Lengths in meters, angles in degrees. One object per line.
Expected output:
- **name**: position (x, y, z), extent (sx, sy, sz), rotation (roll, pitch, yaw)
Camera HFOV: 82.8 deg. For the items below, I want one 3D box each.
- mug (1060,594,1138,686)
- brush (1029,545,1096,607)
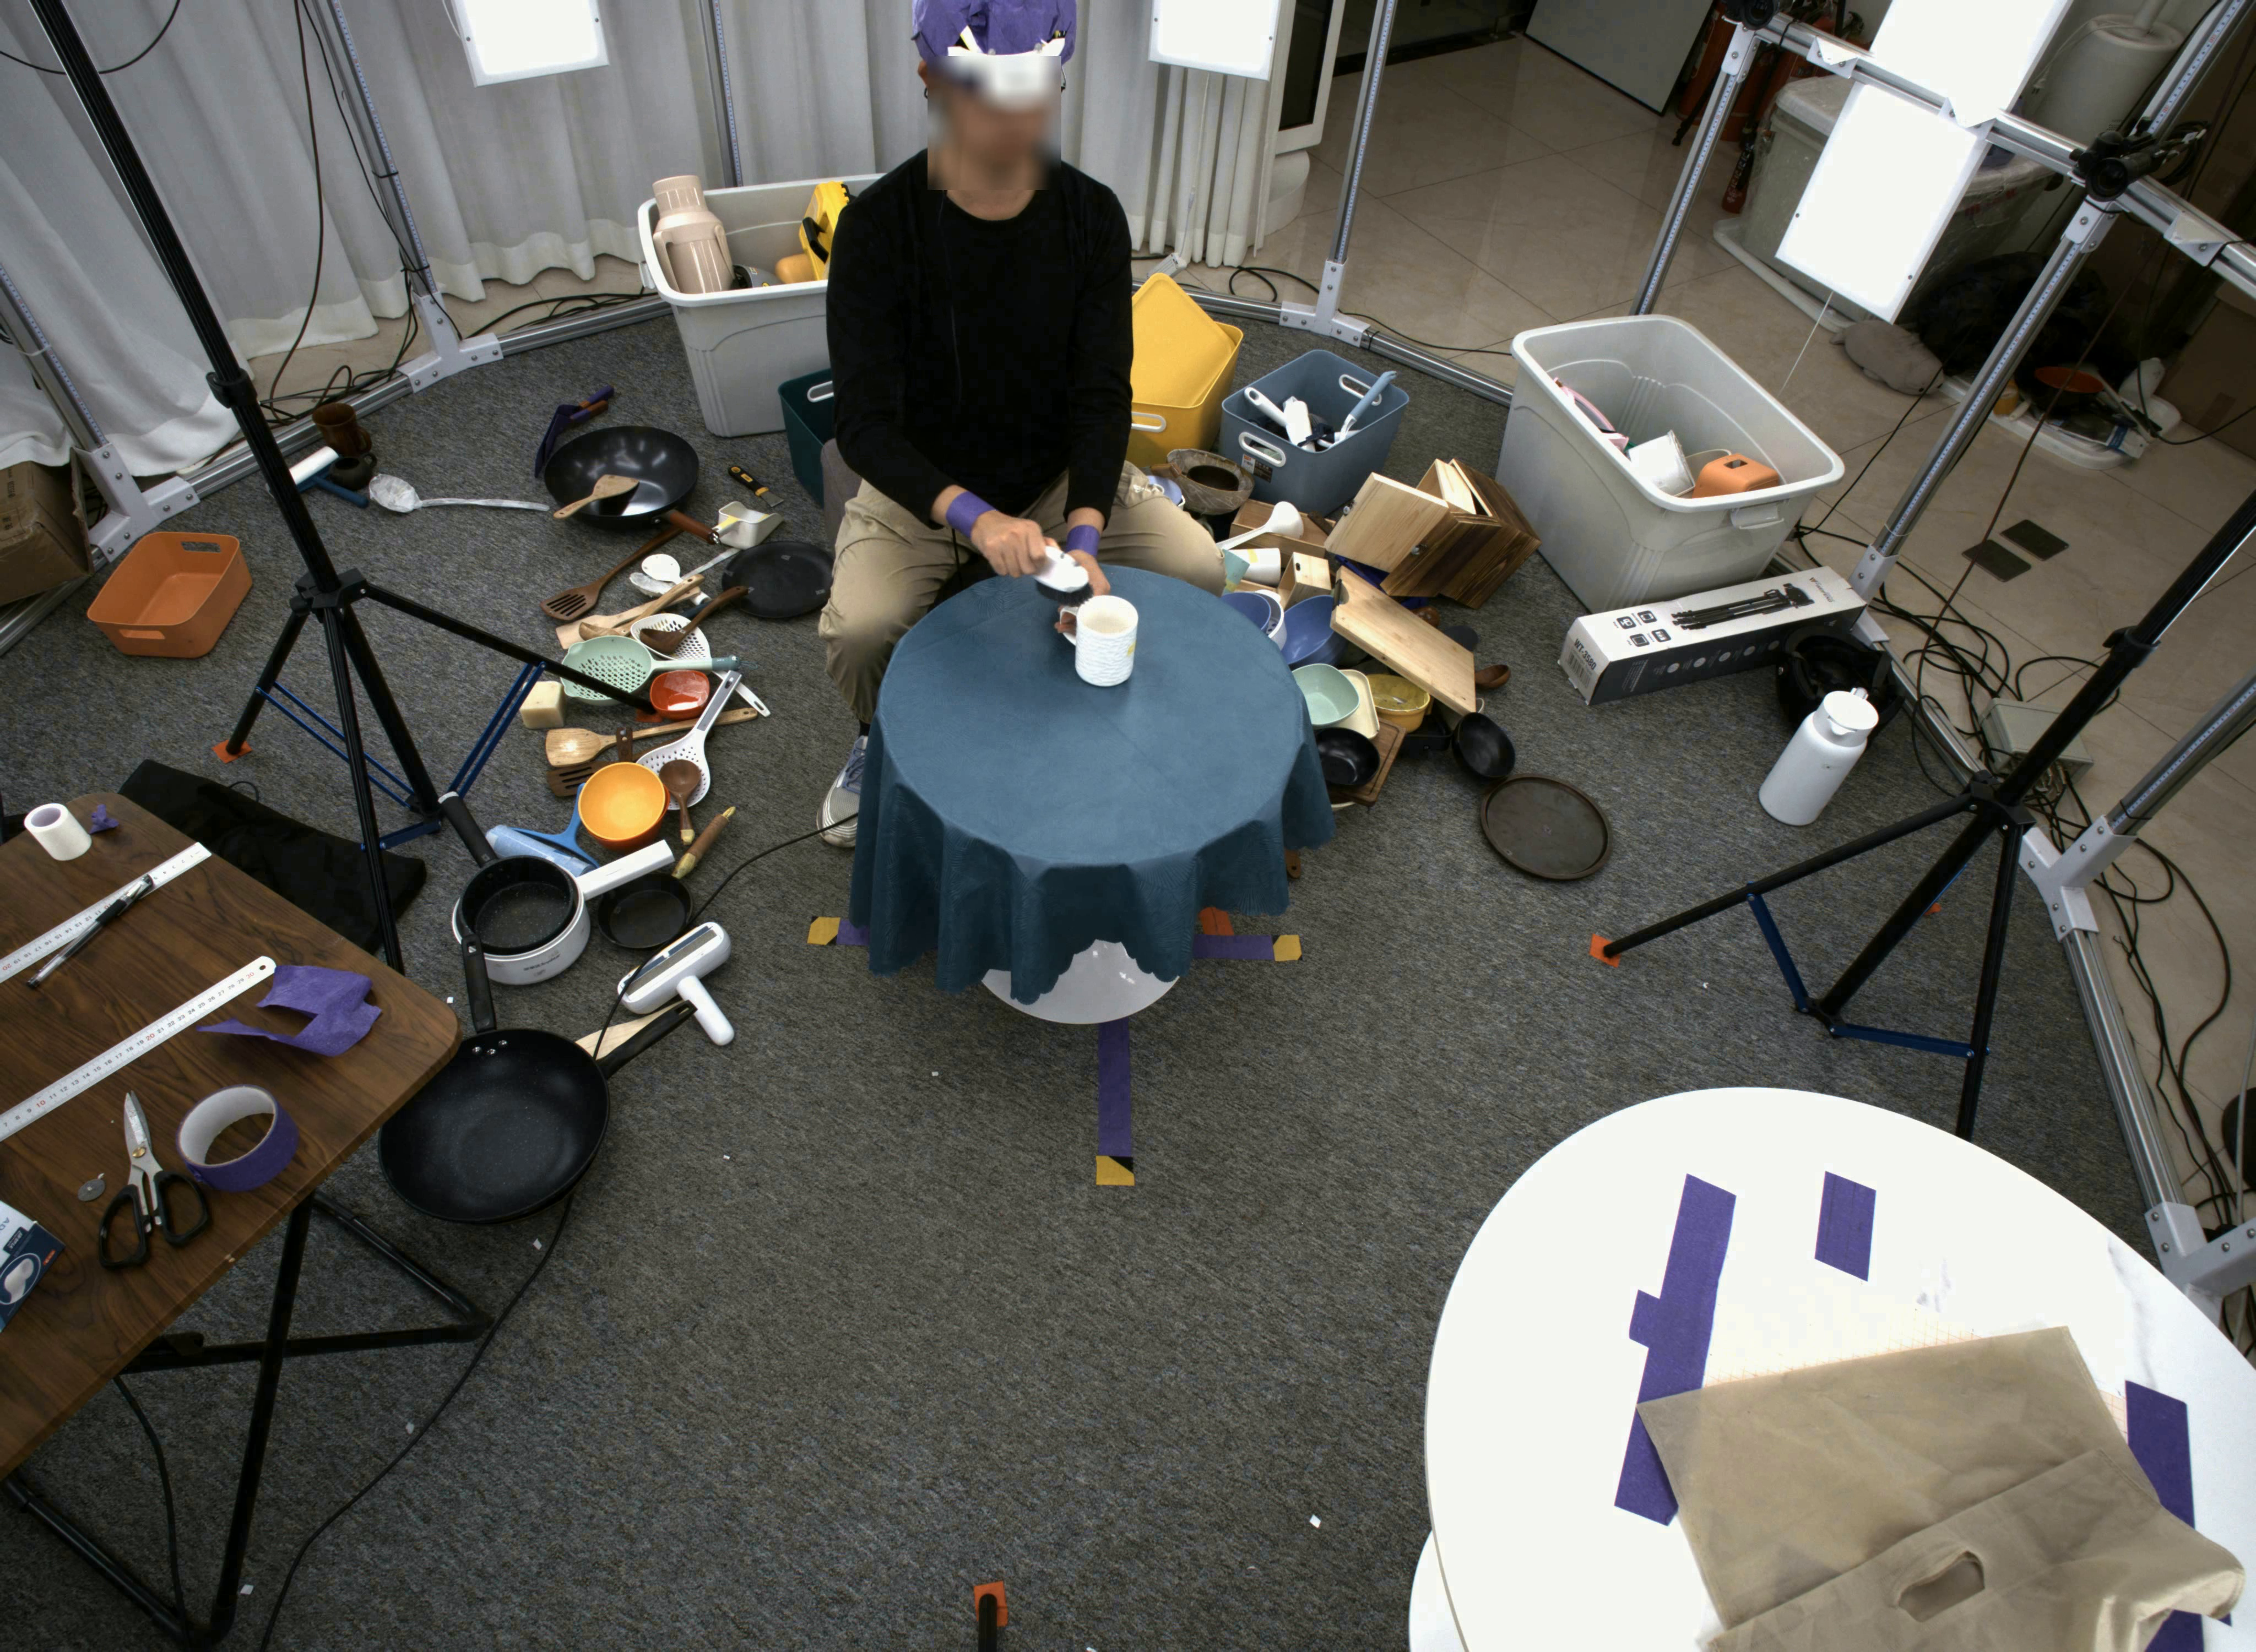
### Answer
- **mug**: position (-0.046, -0.270, 1.830), extent (0.119, 0.099, 0.086), rotation (27, 53, 18)
- **brush**: position (-0.094, -0.352, 1.777), extent (0.100, 0.071, 0.051), rotation (25, 58, 33)
